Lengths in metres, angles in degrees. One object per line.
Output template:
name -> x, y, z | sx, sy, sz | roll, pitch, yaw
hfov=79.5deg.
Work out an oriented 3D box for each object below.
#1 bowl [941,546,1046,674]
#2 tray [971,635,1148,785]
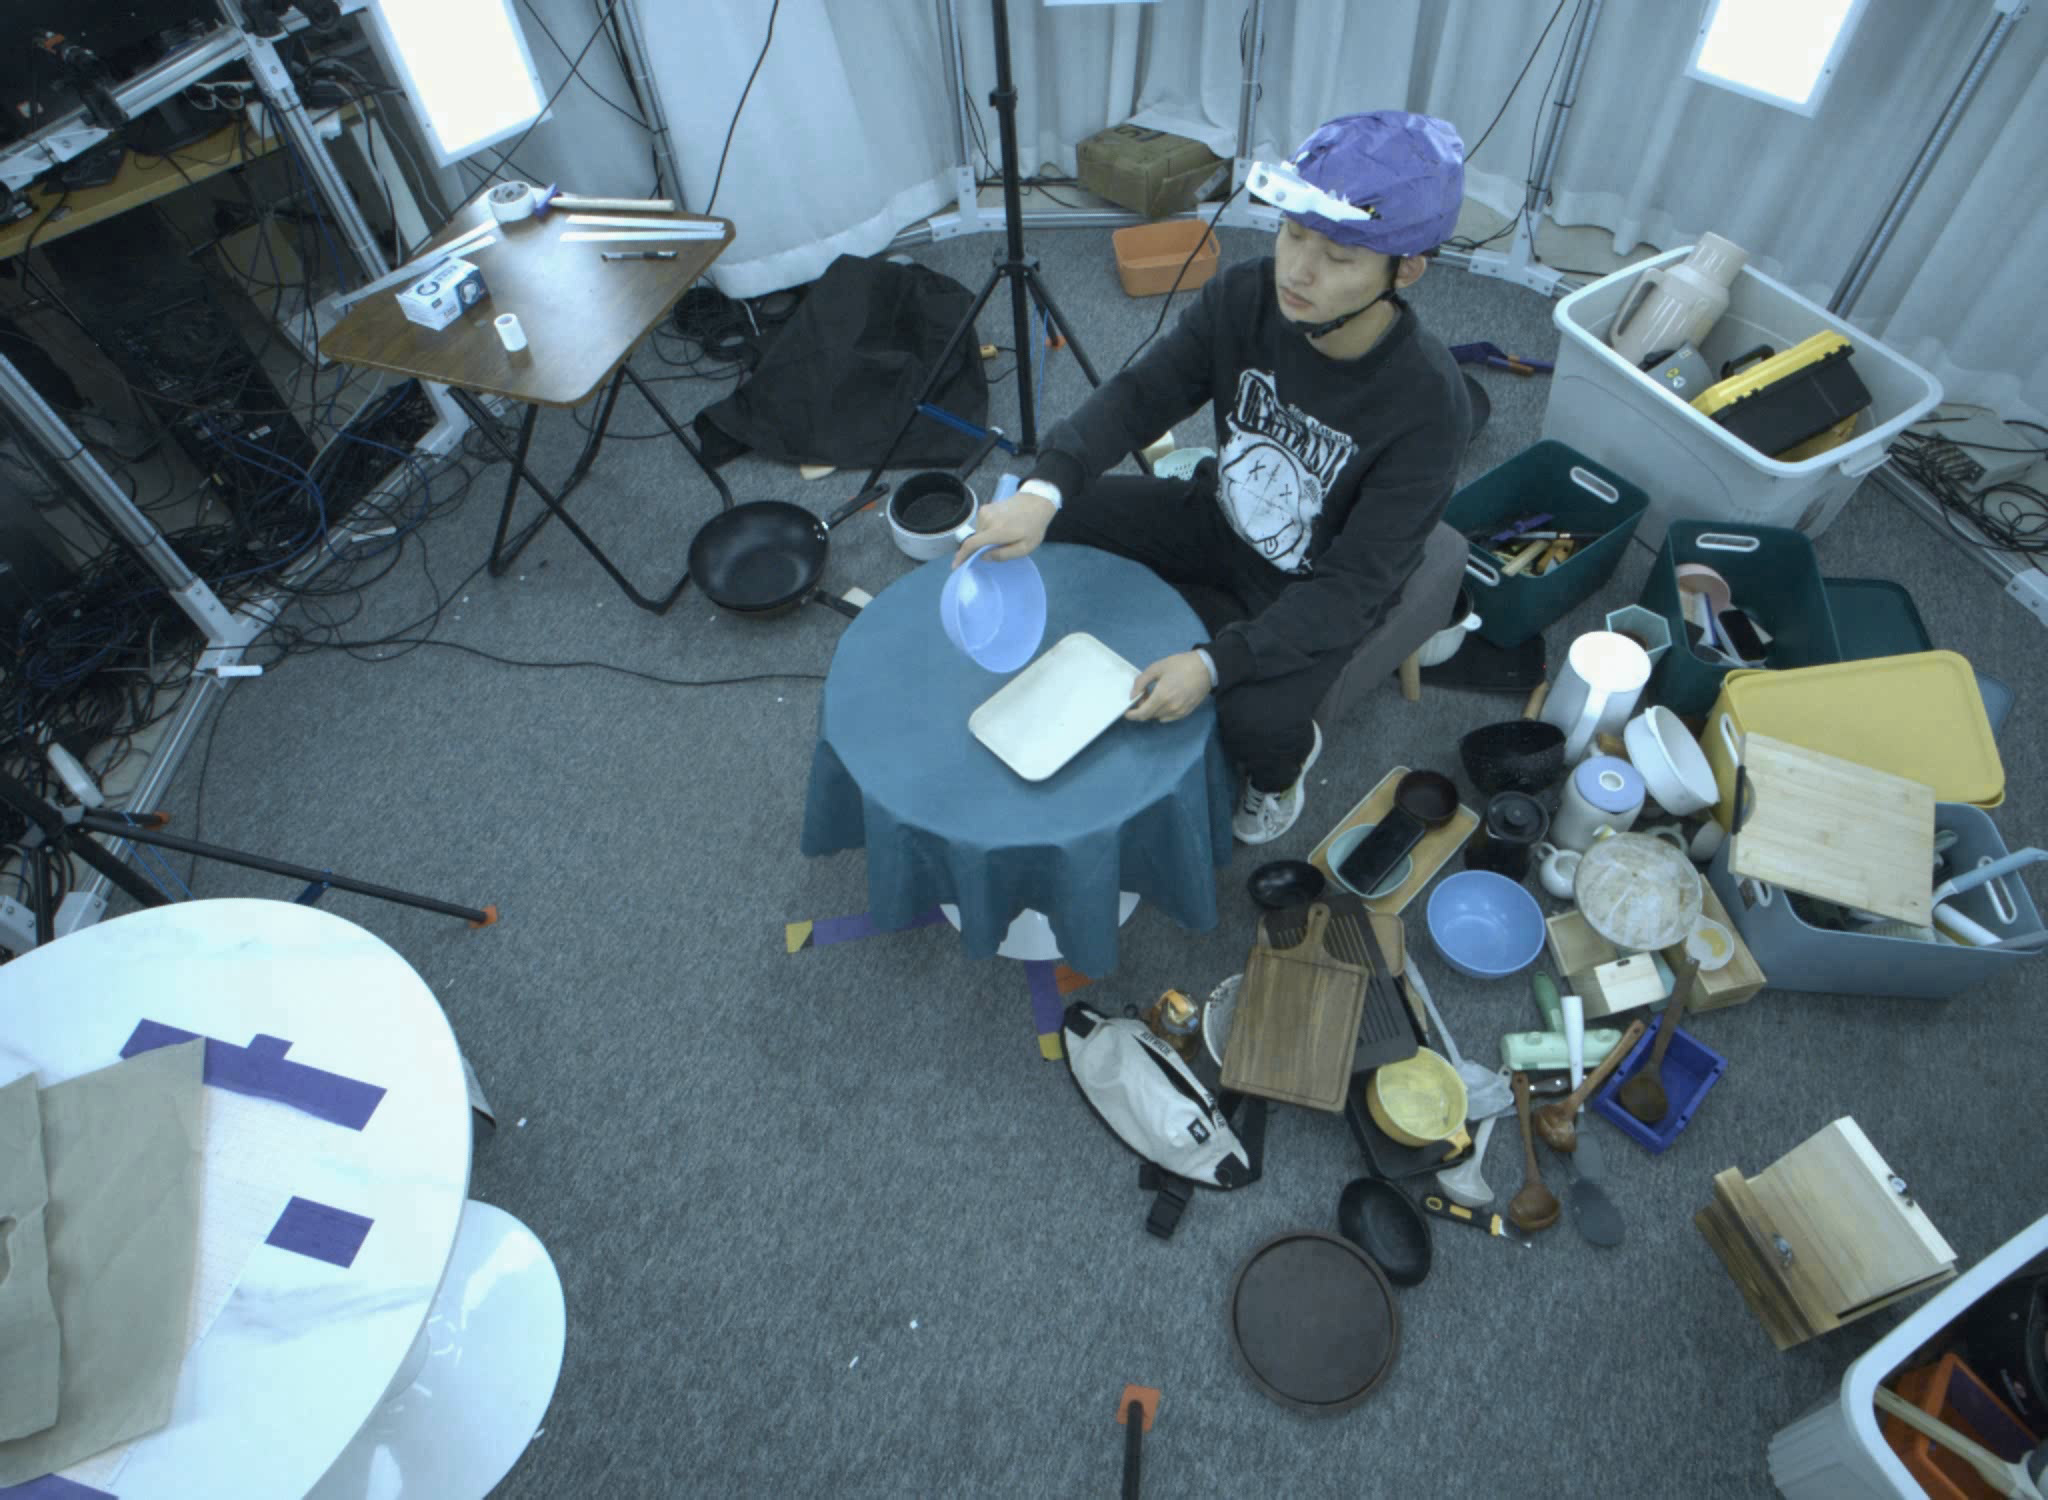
bowl -> -0.052, -0.193, 1.698 | 0.069, 0.179, 0.176 | 6, 50, 42
tray -> 0.053, -0.060, 1.807 | 0.241, 0.018, 0.168 | -40, 59, -15
